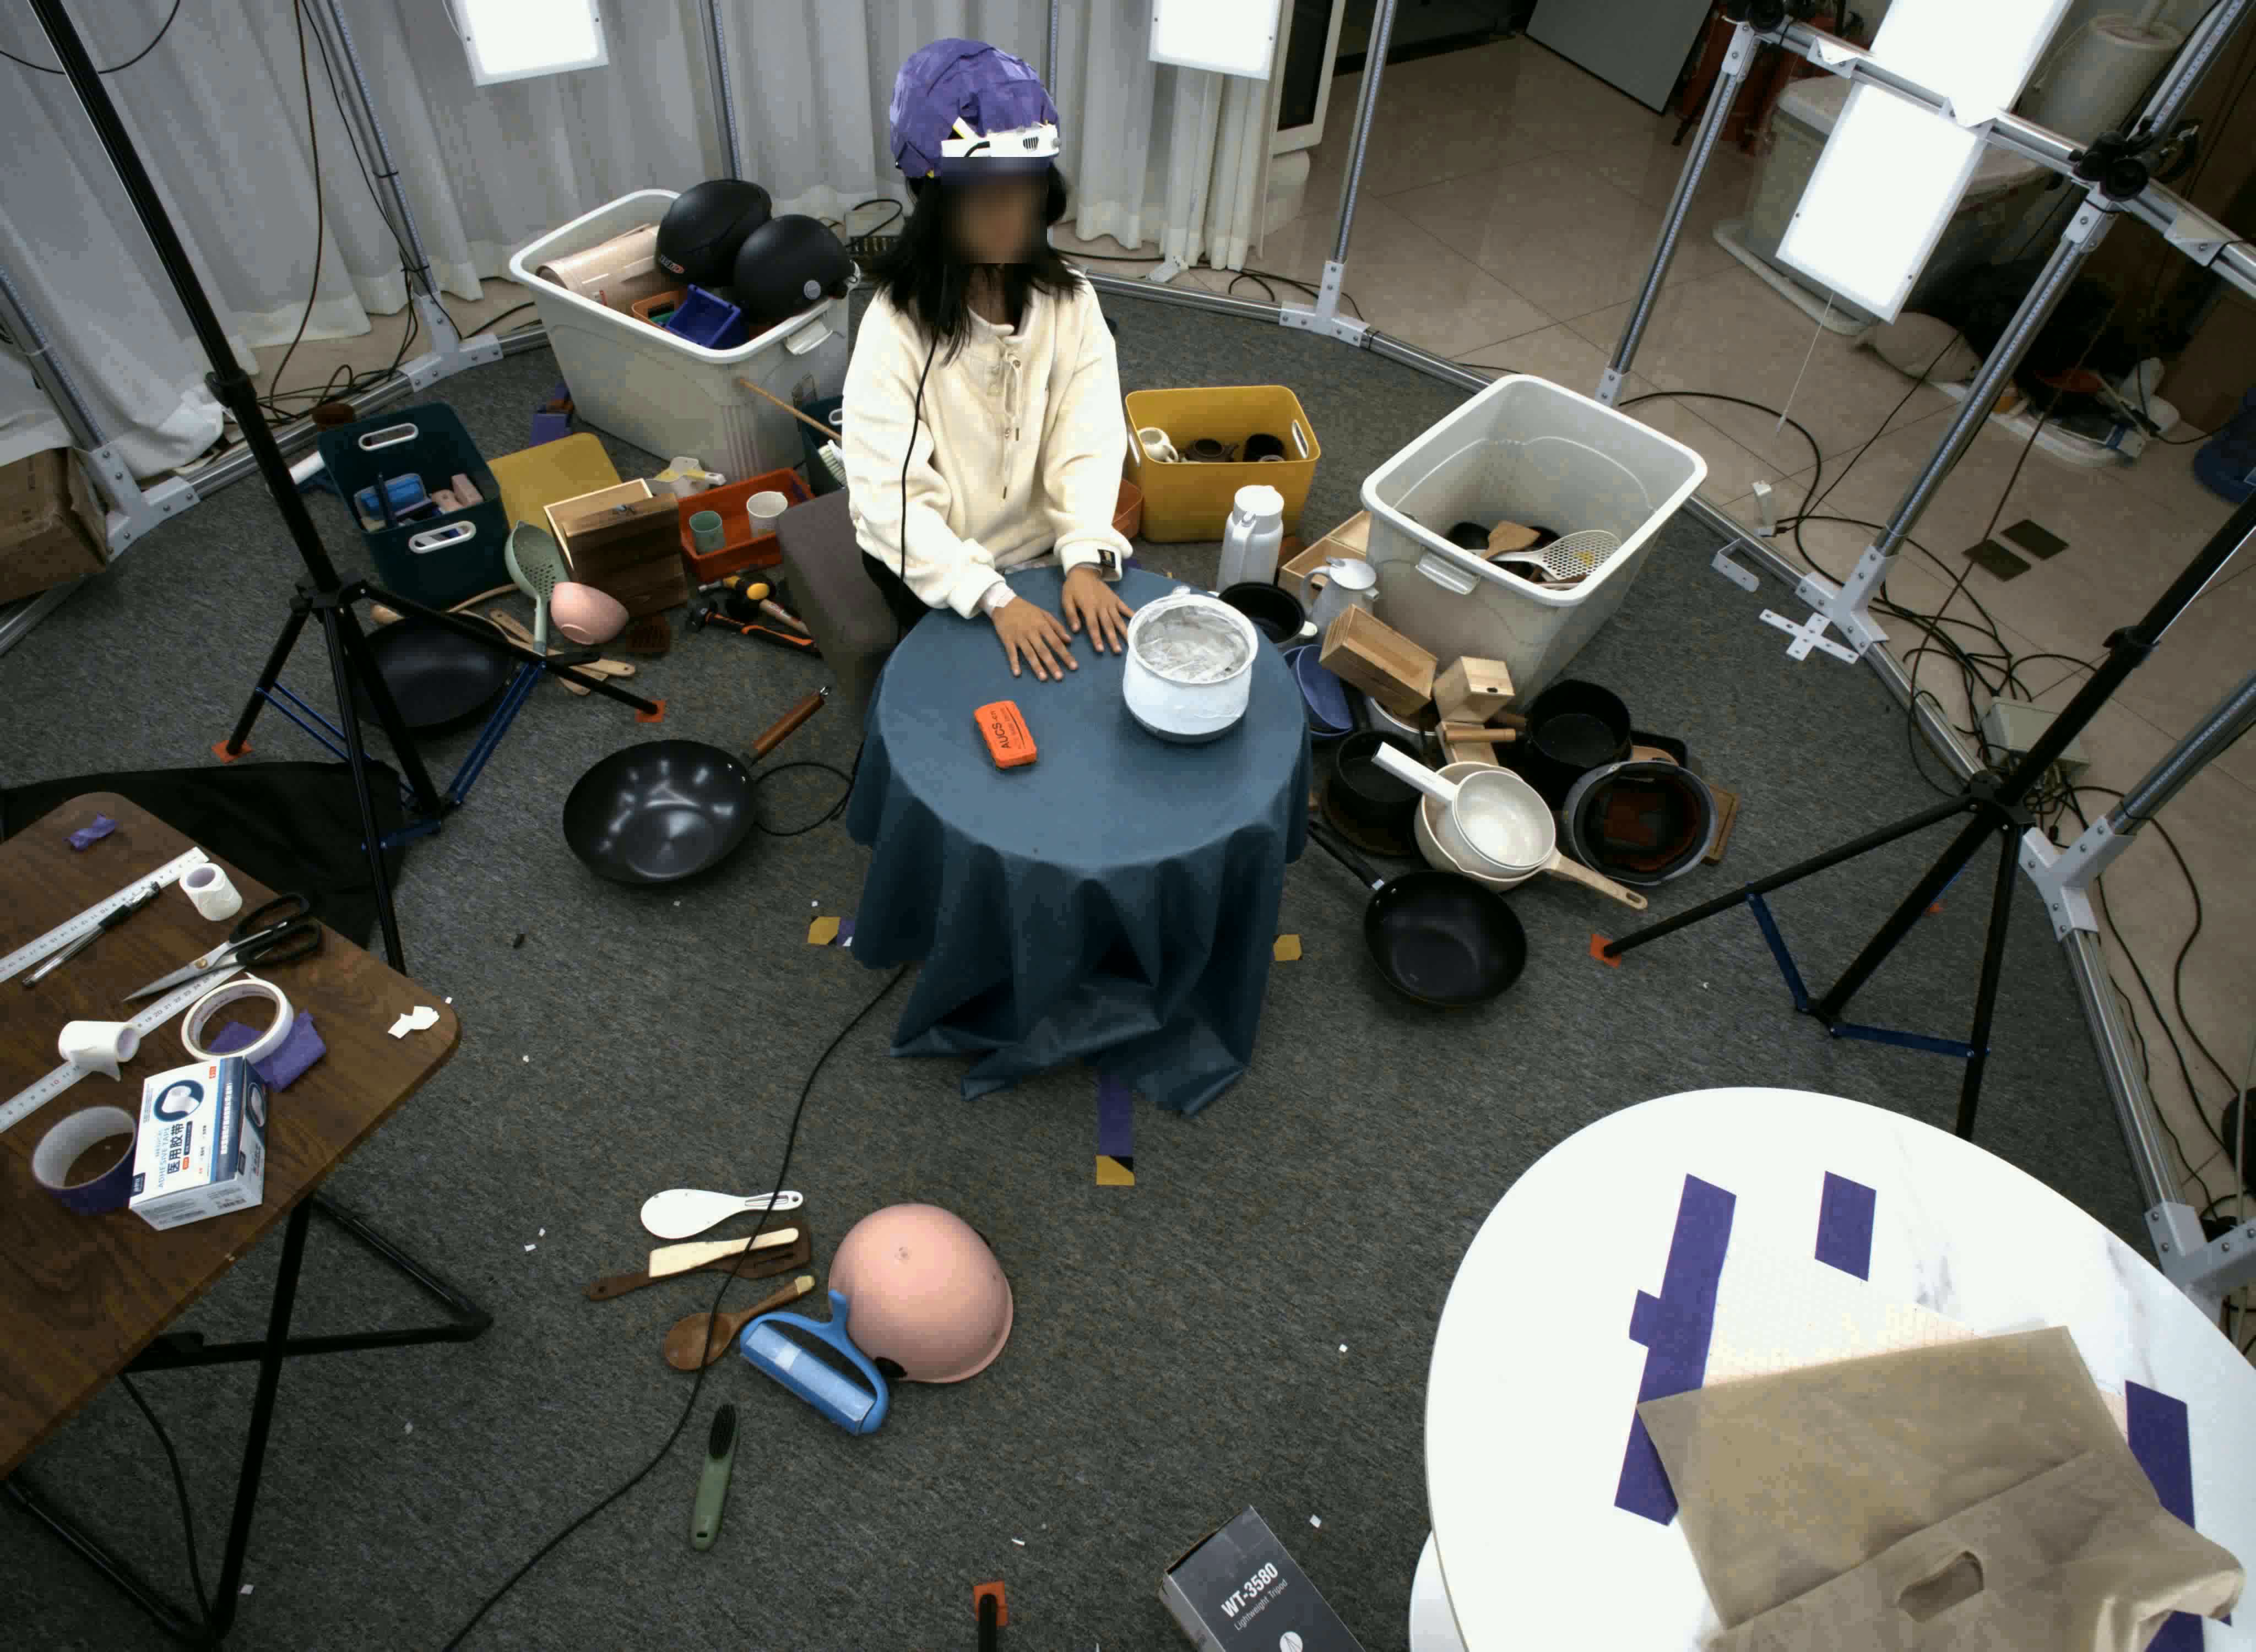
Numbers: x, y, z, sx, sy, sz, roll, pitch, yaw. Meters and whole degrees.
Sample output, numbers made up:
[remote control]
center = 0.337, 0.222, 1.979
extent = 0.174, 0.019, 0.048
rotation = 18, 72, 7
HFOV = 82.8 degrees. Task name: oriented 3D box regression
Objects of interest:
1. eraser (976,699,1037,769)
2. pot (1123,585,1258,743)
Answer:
[eraser]
center = -0.166, -0.126, 1.749
extent = 0.059, 0.022, 0.110
rotation = -14, 50, -16
[pot]
center = 0.079, -0.235, 1.788
extent = 0.178, 0.133, 0.239
rotation = -3, 51, -7
